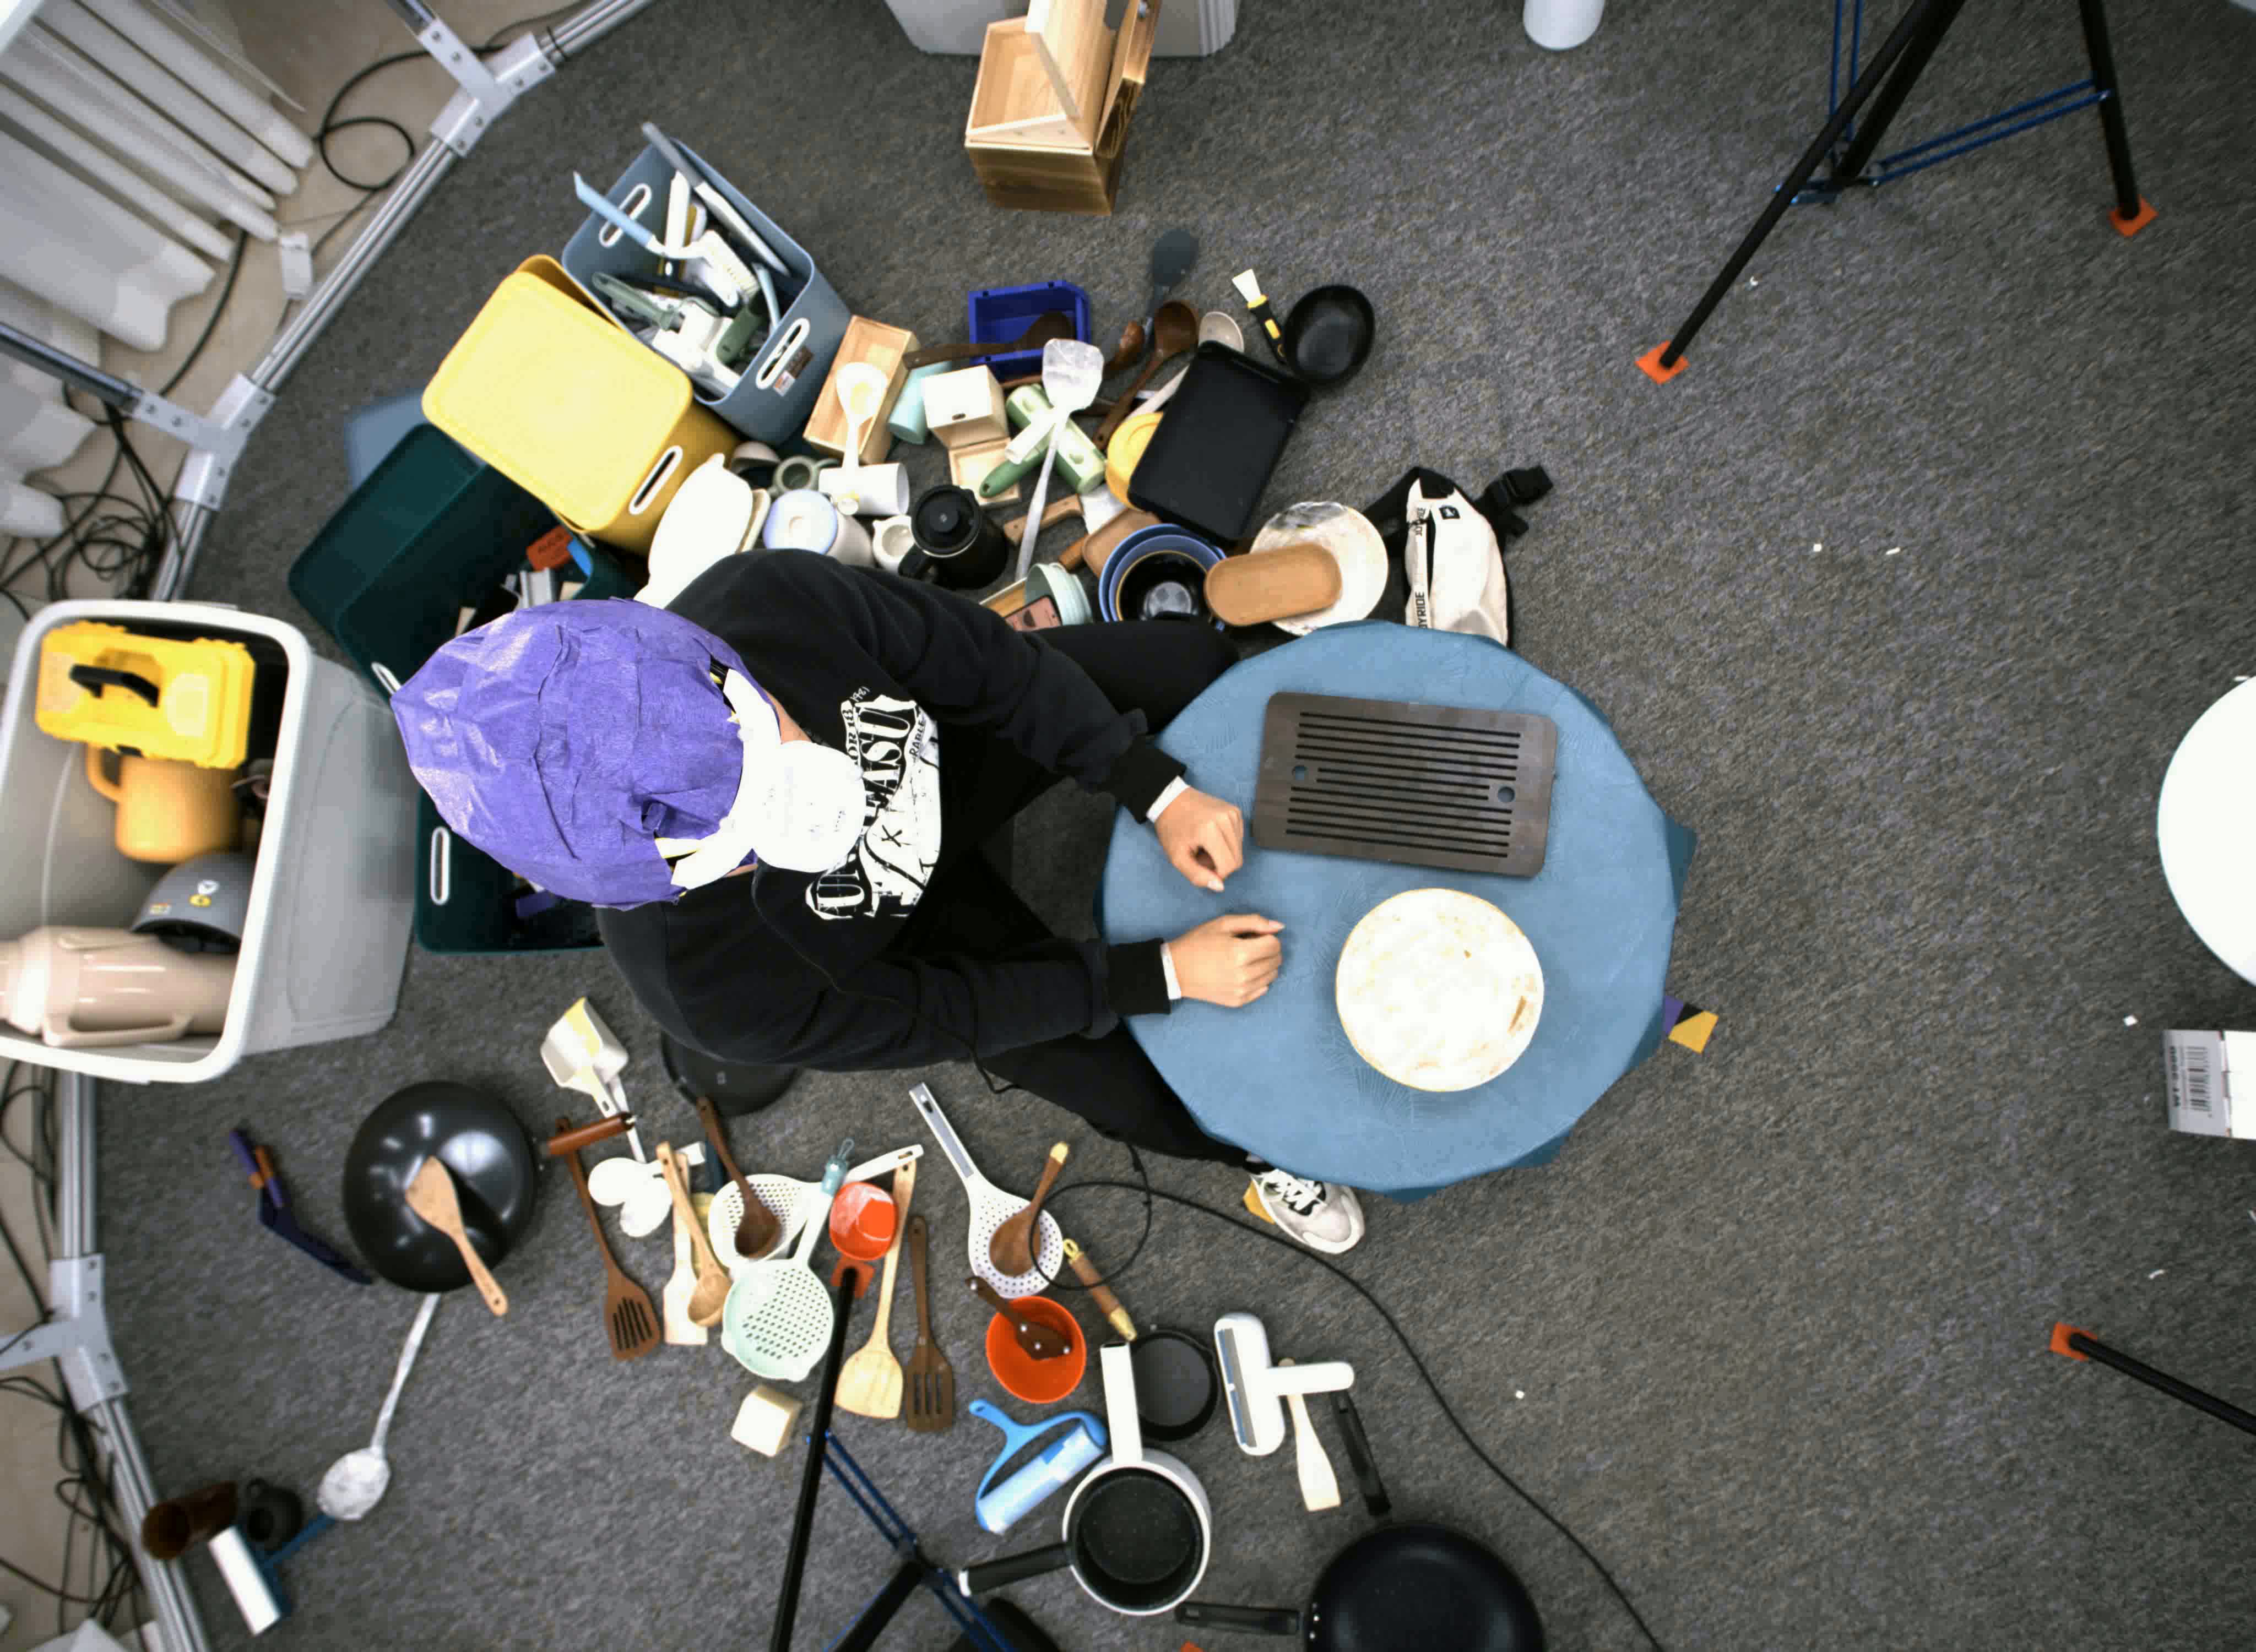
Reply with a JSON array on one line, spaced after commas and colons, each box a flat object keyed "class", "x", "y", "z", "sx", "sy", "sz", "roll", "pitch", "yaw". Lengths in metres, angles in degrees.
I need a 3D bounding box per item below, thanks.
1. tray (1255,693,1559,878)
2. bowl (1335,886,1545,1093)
[{"class": "tray", "x": 0.294, "y": -0.046, "z": 1.460, "sx": 0.307, "sy": 0.018, "sz": 0.169, "roll": 6, "pitch": 87, "yaw": 11}, {"class": "bowl", "x": 0.312, "y": 0.162, "z": 1.404, "sx": 0.215, "sy": 0.094, "sz": 0.214, "roll": -1, "pitch": 87, "yaw": 10}]
